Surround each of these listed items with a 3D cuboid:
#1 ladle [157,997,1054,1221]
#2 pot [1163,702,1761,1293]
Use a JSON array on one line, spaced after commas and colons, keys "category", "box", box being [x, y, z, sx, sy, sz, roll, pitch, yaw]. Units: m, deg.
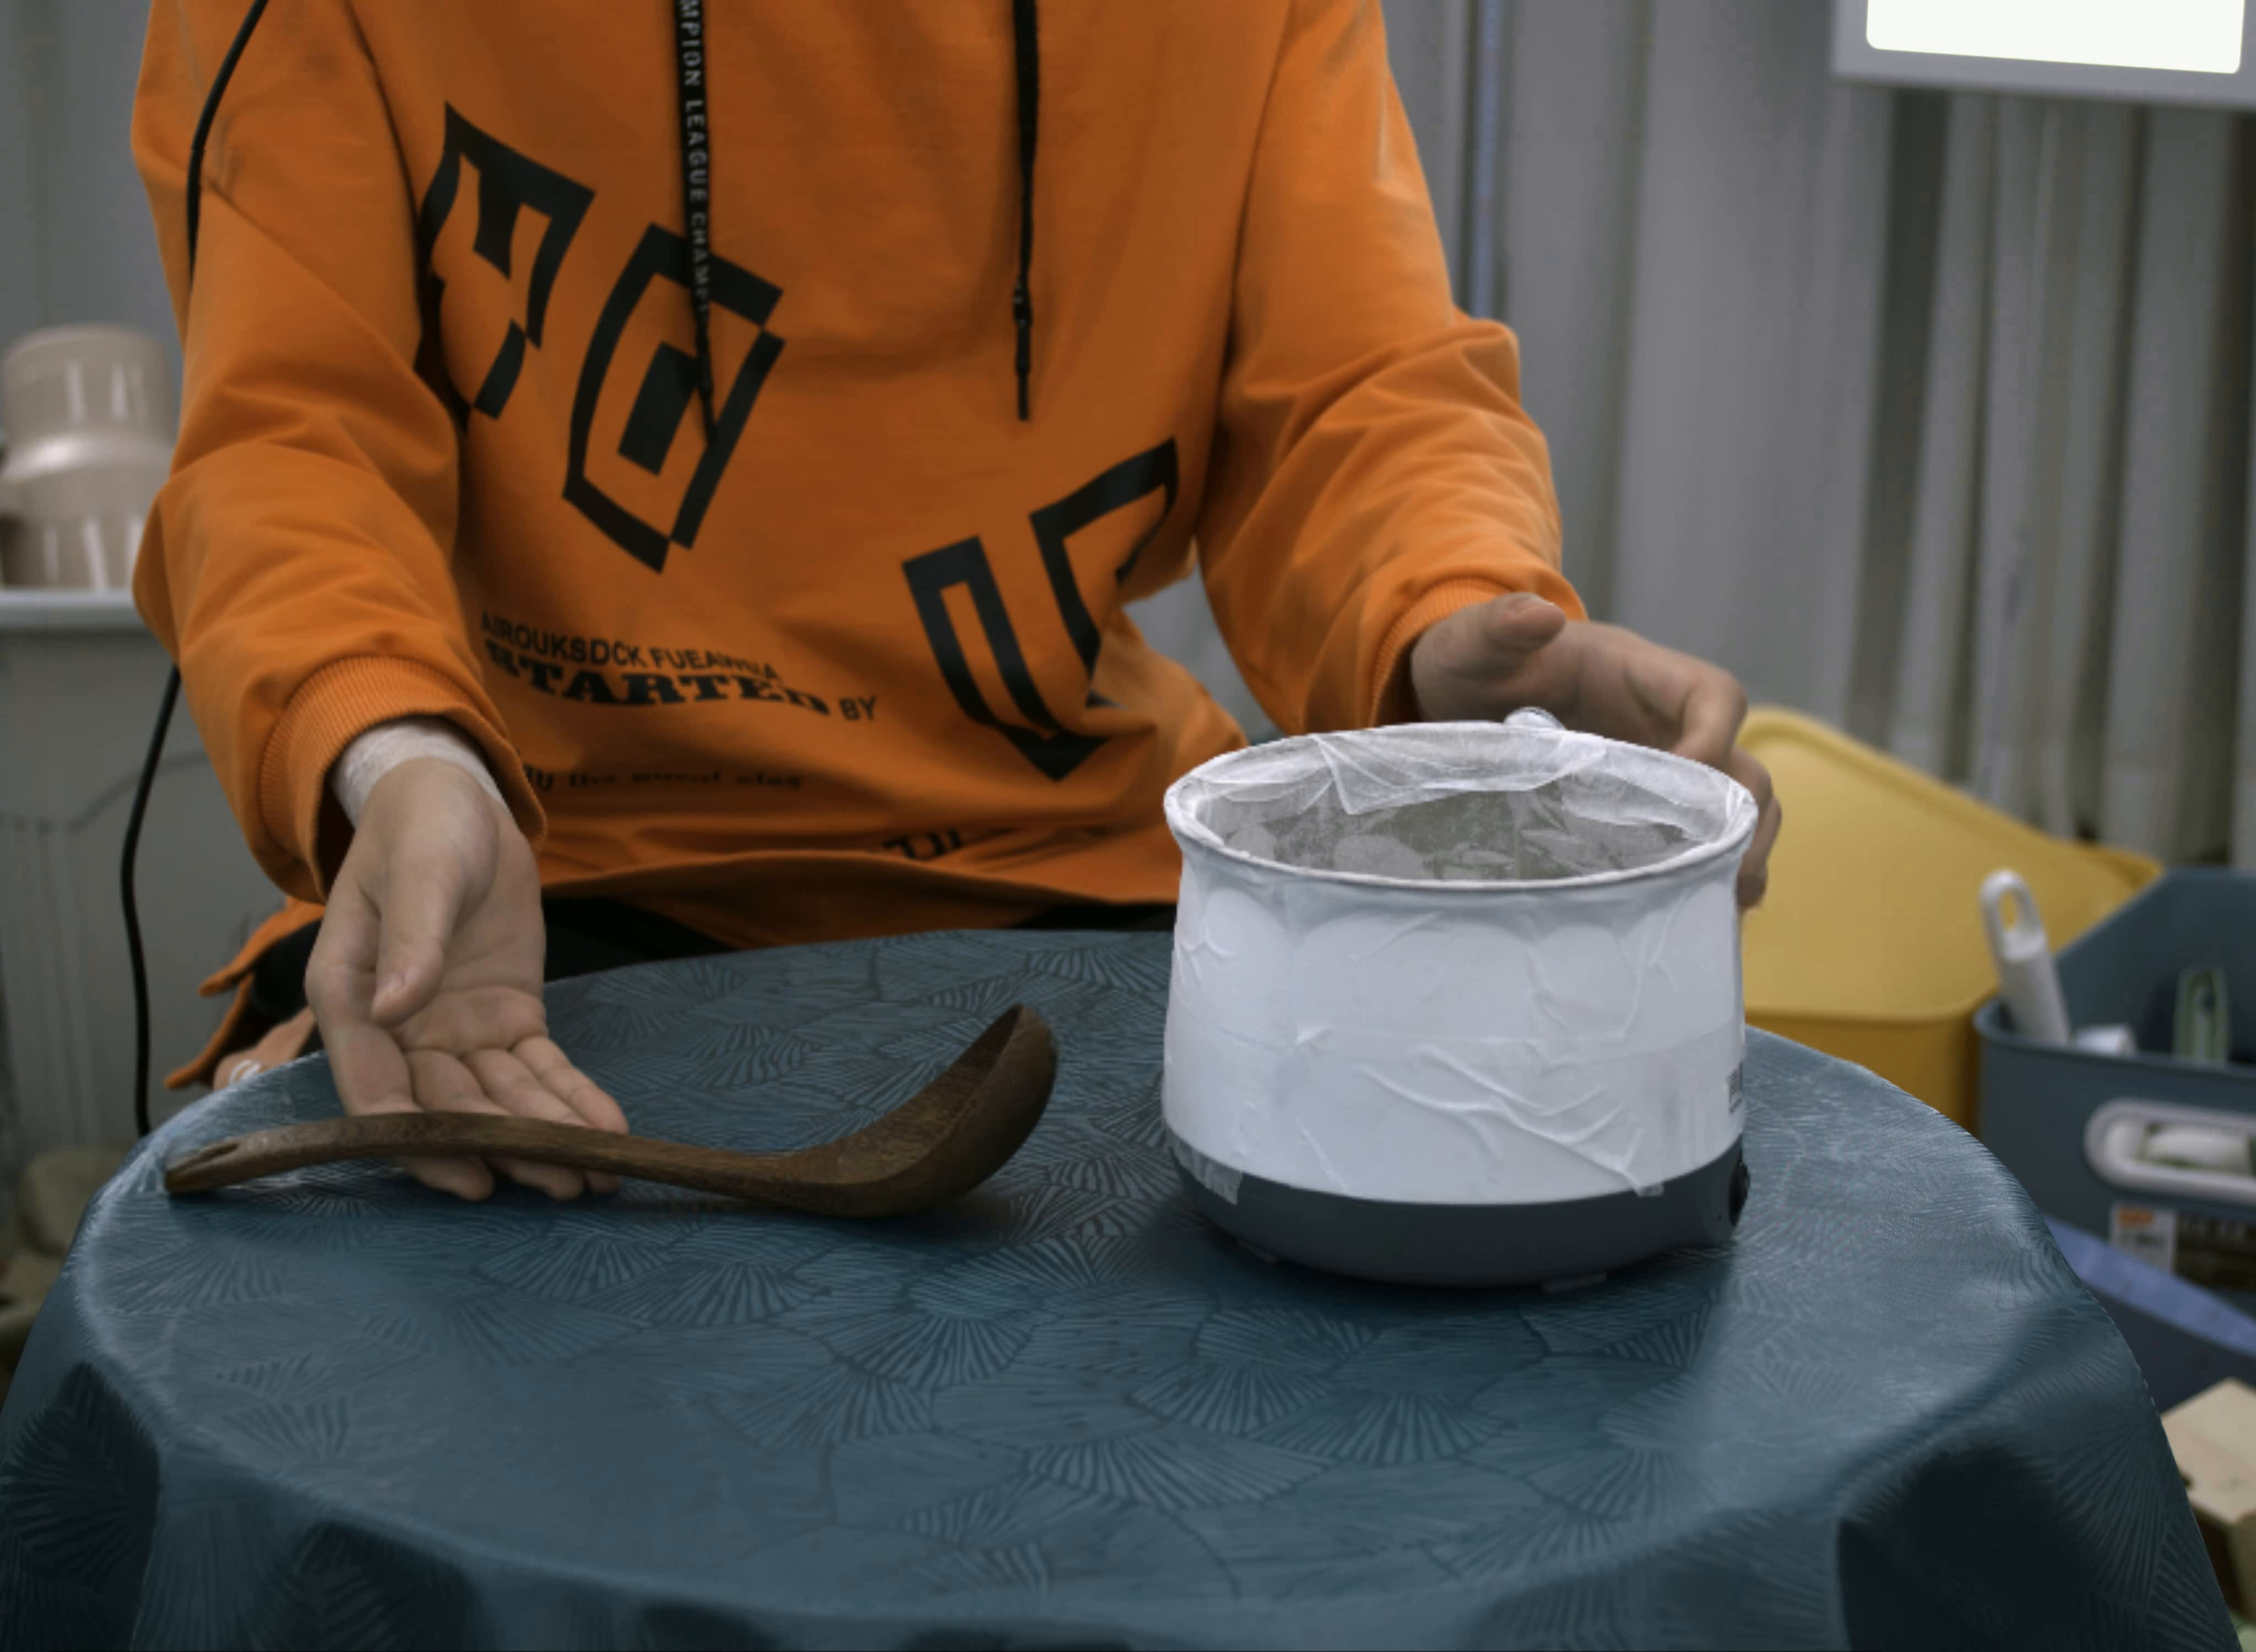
[{"category": "ladle", "box": [-0.159, 0.081, 1.597, 0.273, 0.072, 0.076, 3, 14, 3]}, {"category": "pot", "box": [0.106, 0.046, 1.607, 0.177, 0.138, 0.233, 5, 17, 14]}]
